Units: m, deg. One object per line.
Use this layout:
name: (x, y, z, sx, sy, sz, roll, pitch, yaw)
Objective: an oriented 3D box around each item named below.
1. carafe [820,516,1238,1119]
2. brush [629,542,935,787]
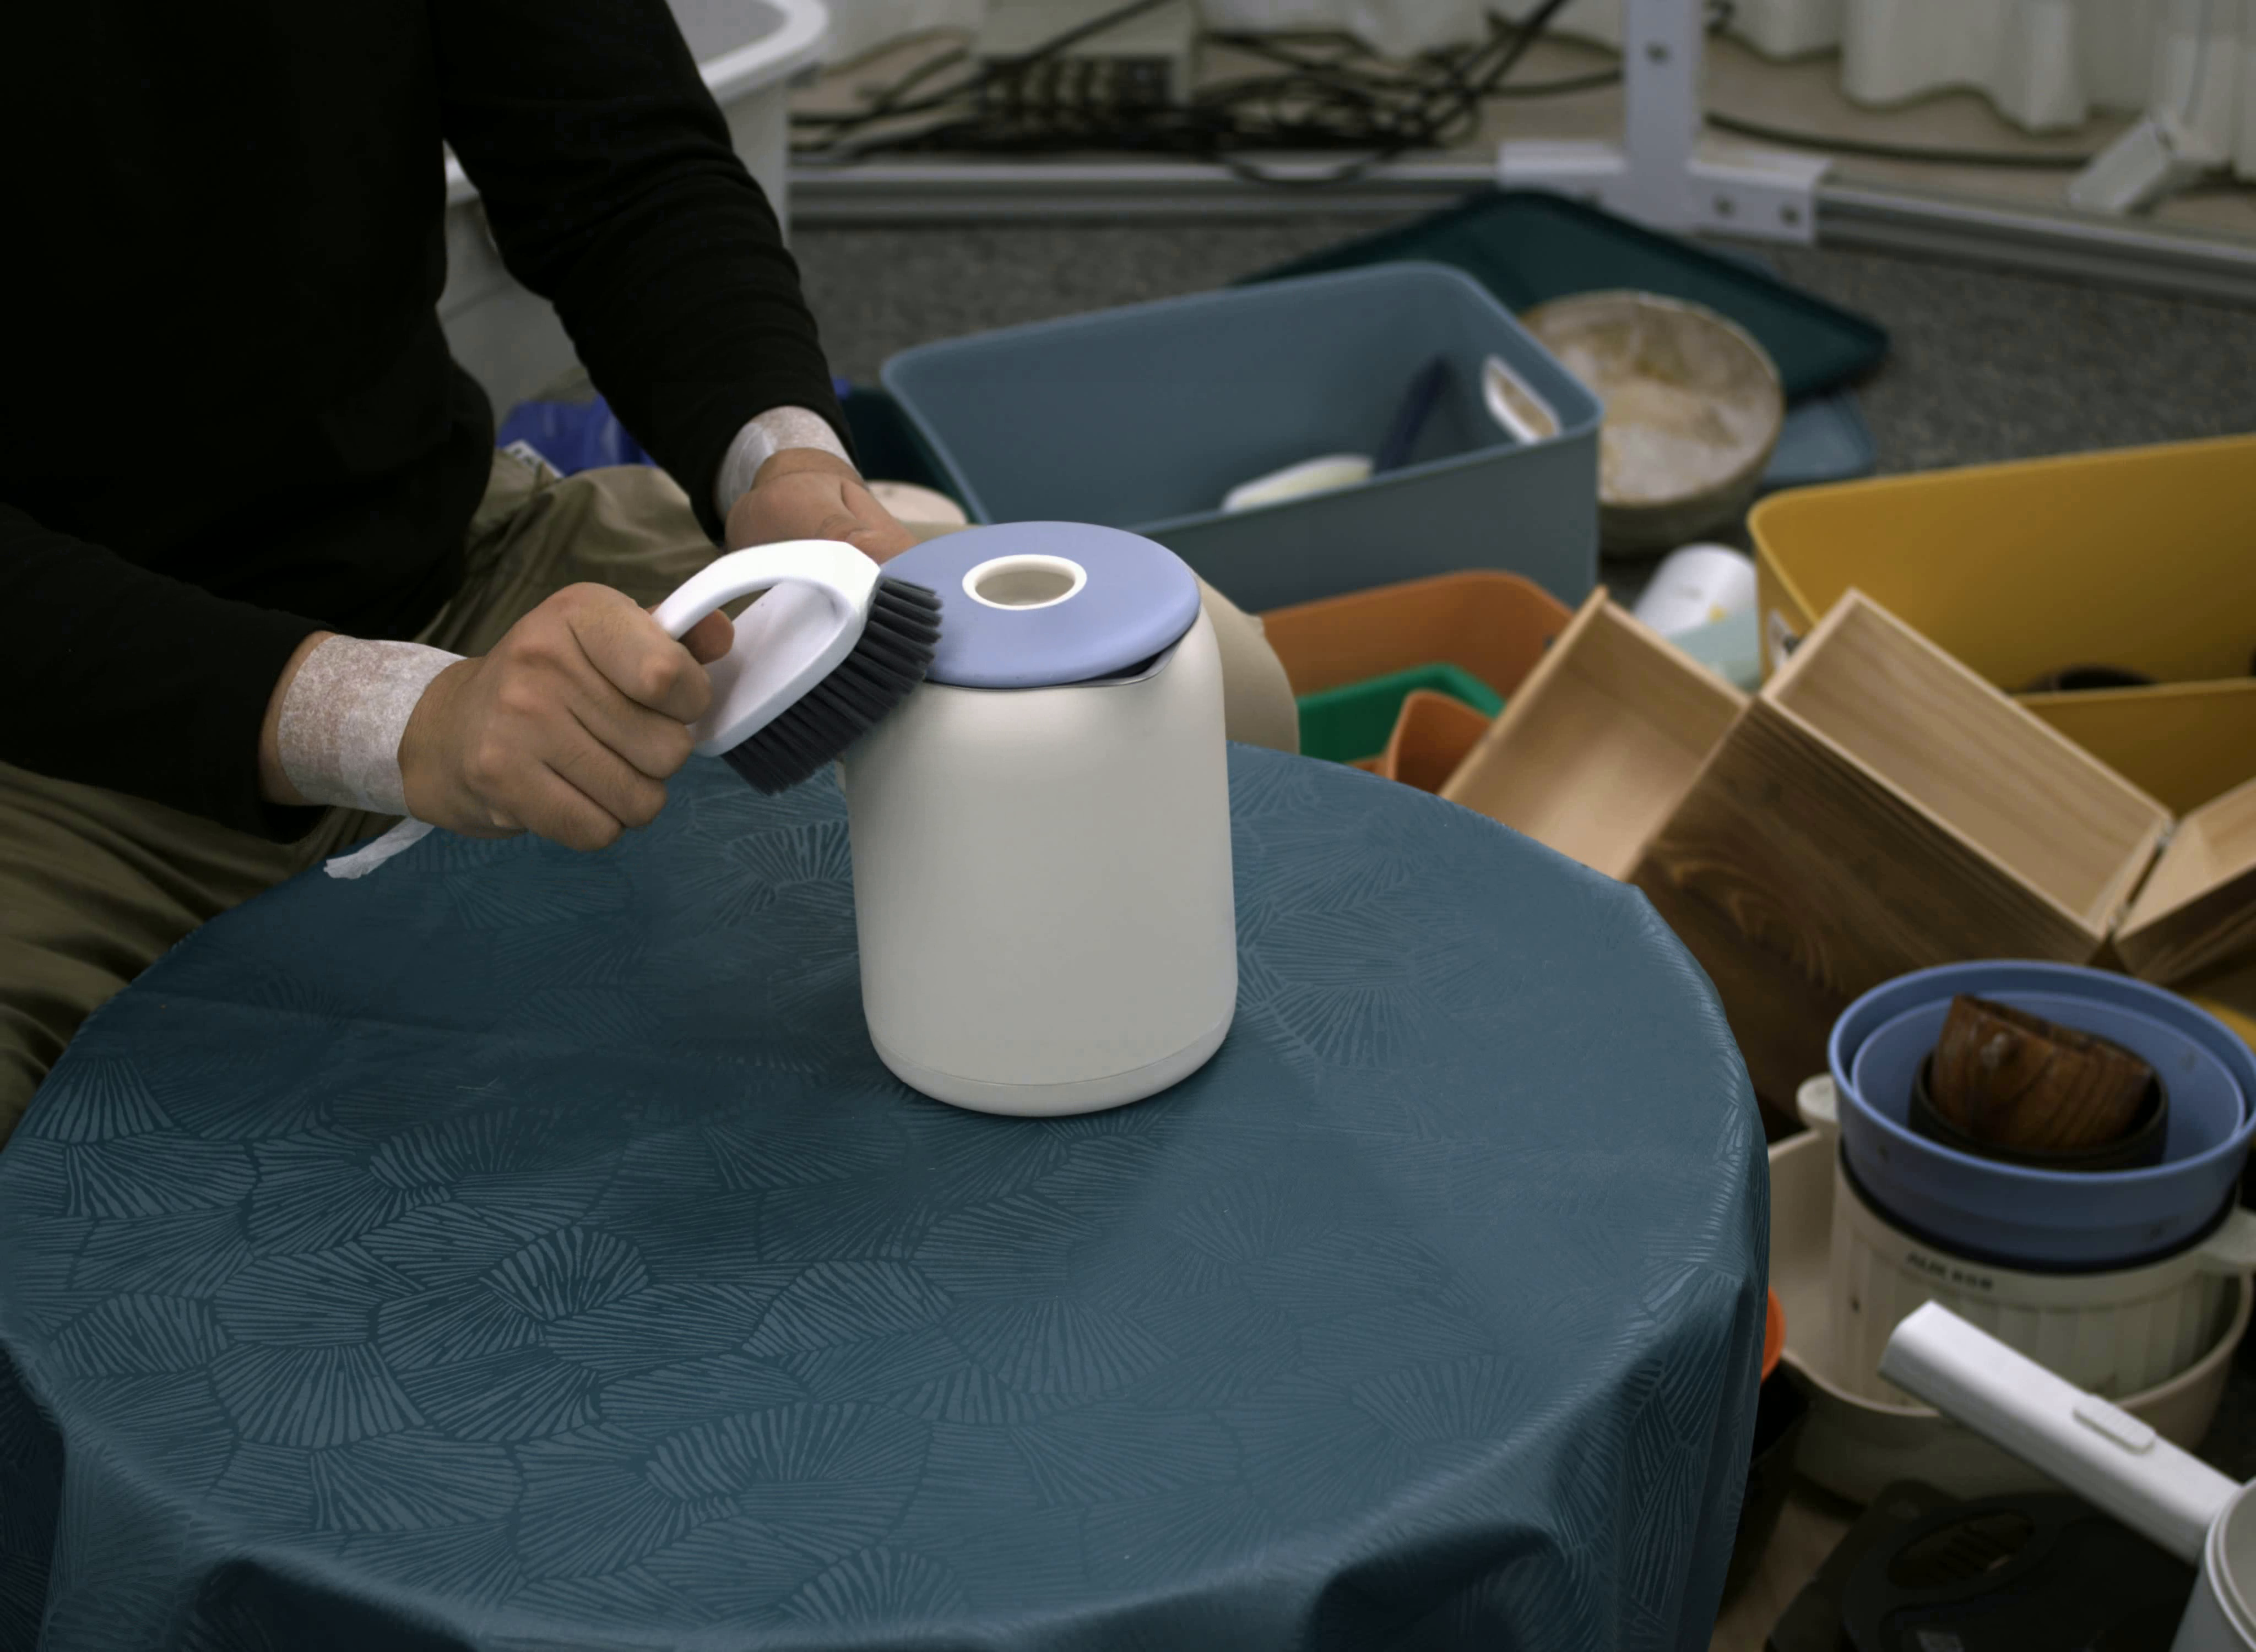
carafe: (-0.046, -0.011, 1.939, 0.133, 0.181, 0.191, -22, 30, -33)
brush: (-0.121, -0.058, 1.845, 0.072, 0.097, 0.051, 29, 43, -33)
